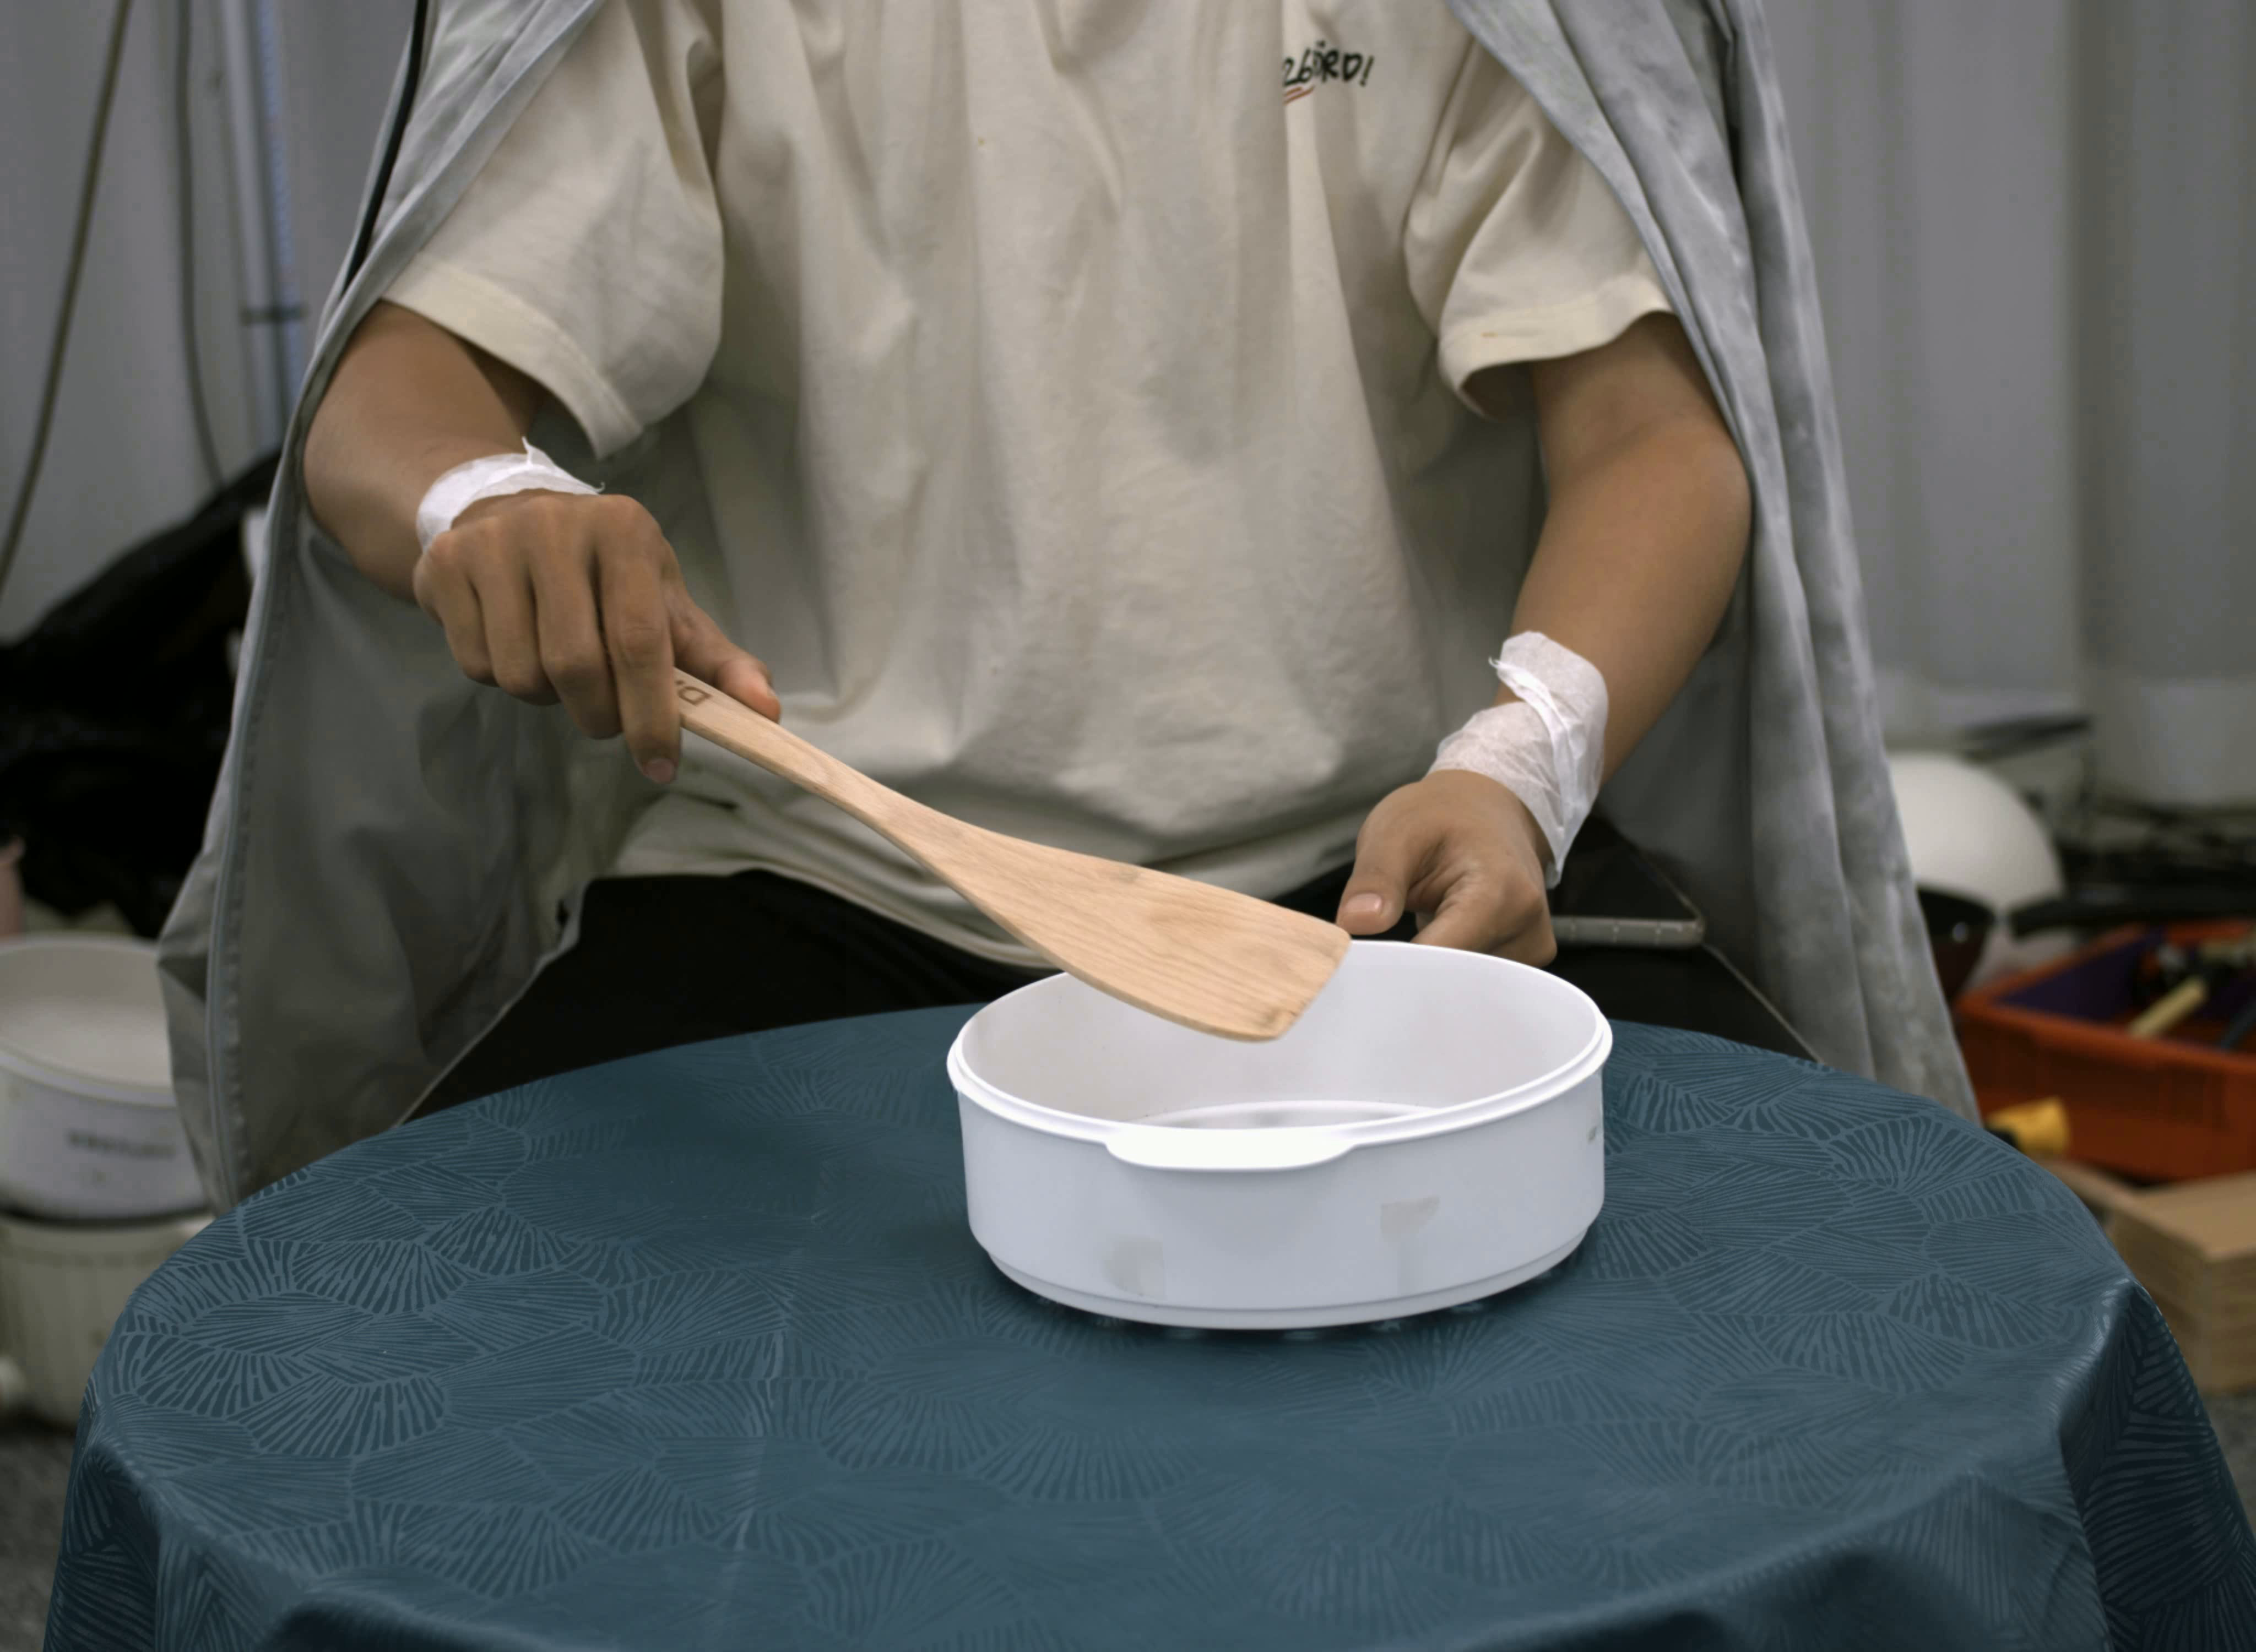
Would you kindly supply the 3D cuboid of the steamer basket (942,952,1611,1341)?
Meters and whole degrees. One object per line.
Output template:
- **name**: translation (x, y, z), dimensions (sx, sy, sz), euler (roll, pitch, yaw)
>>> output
- **steamer basket**: translation (0.045, 0.096, 1.654), dimensions (0.201, 0.069, 0.231), euler (2, 15, 11)

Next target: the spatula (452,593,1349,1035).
- **spatula**: translation (-0.077, -0.010, 1.698), dimensions (0.329, 0.016, 0.080), euler (26, 32, 23)
